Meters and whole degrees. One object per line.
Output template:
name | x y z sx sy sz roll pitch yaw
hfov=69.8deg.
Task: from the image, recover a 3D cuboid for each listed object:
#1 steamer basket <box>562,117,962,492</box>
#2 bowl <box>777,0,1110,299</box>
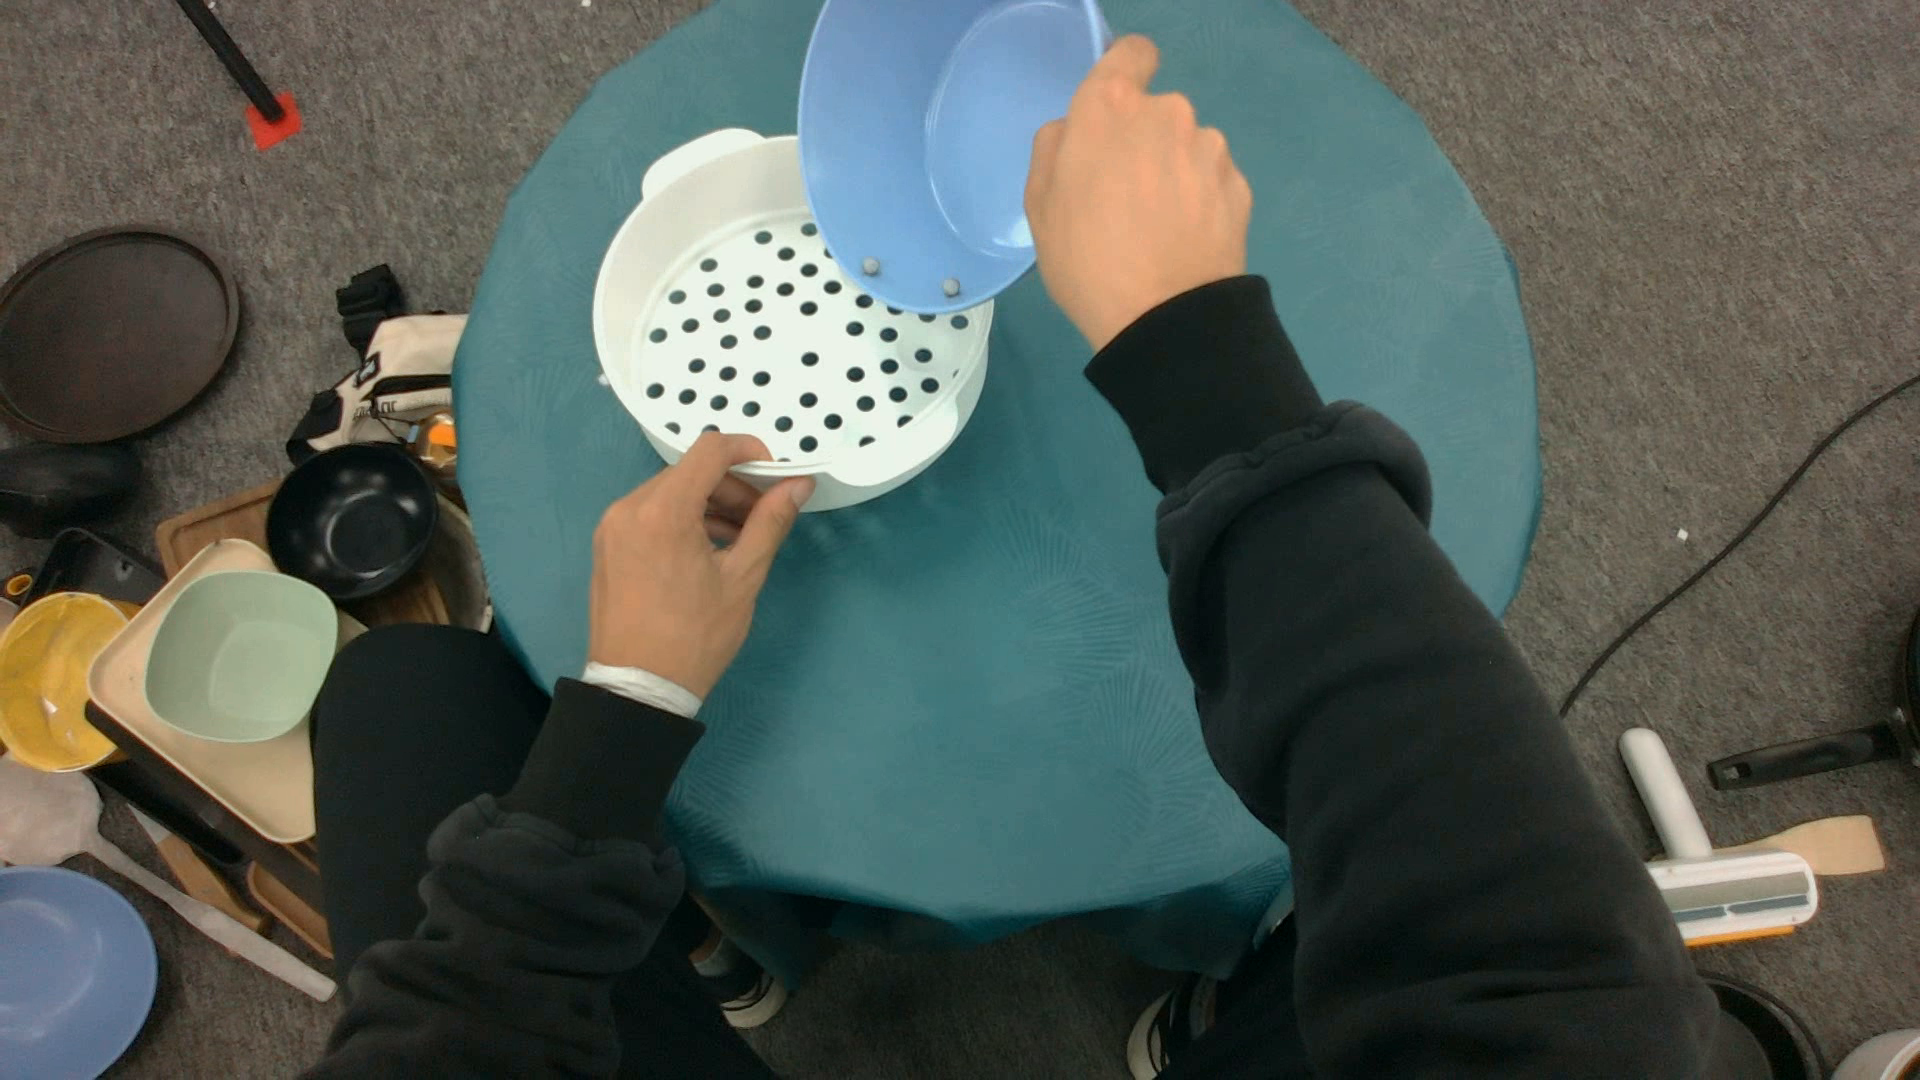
steamer basket | -0.098 -0.120 0.715 0.202 0.069 0.231 -31 67 -13
bowl | 0.001 -0.196 0.621 0.070 0.175 0.176 -7 64 -50
